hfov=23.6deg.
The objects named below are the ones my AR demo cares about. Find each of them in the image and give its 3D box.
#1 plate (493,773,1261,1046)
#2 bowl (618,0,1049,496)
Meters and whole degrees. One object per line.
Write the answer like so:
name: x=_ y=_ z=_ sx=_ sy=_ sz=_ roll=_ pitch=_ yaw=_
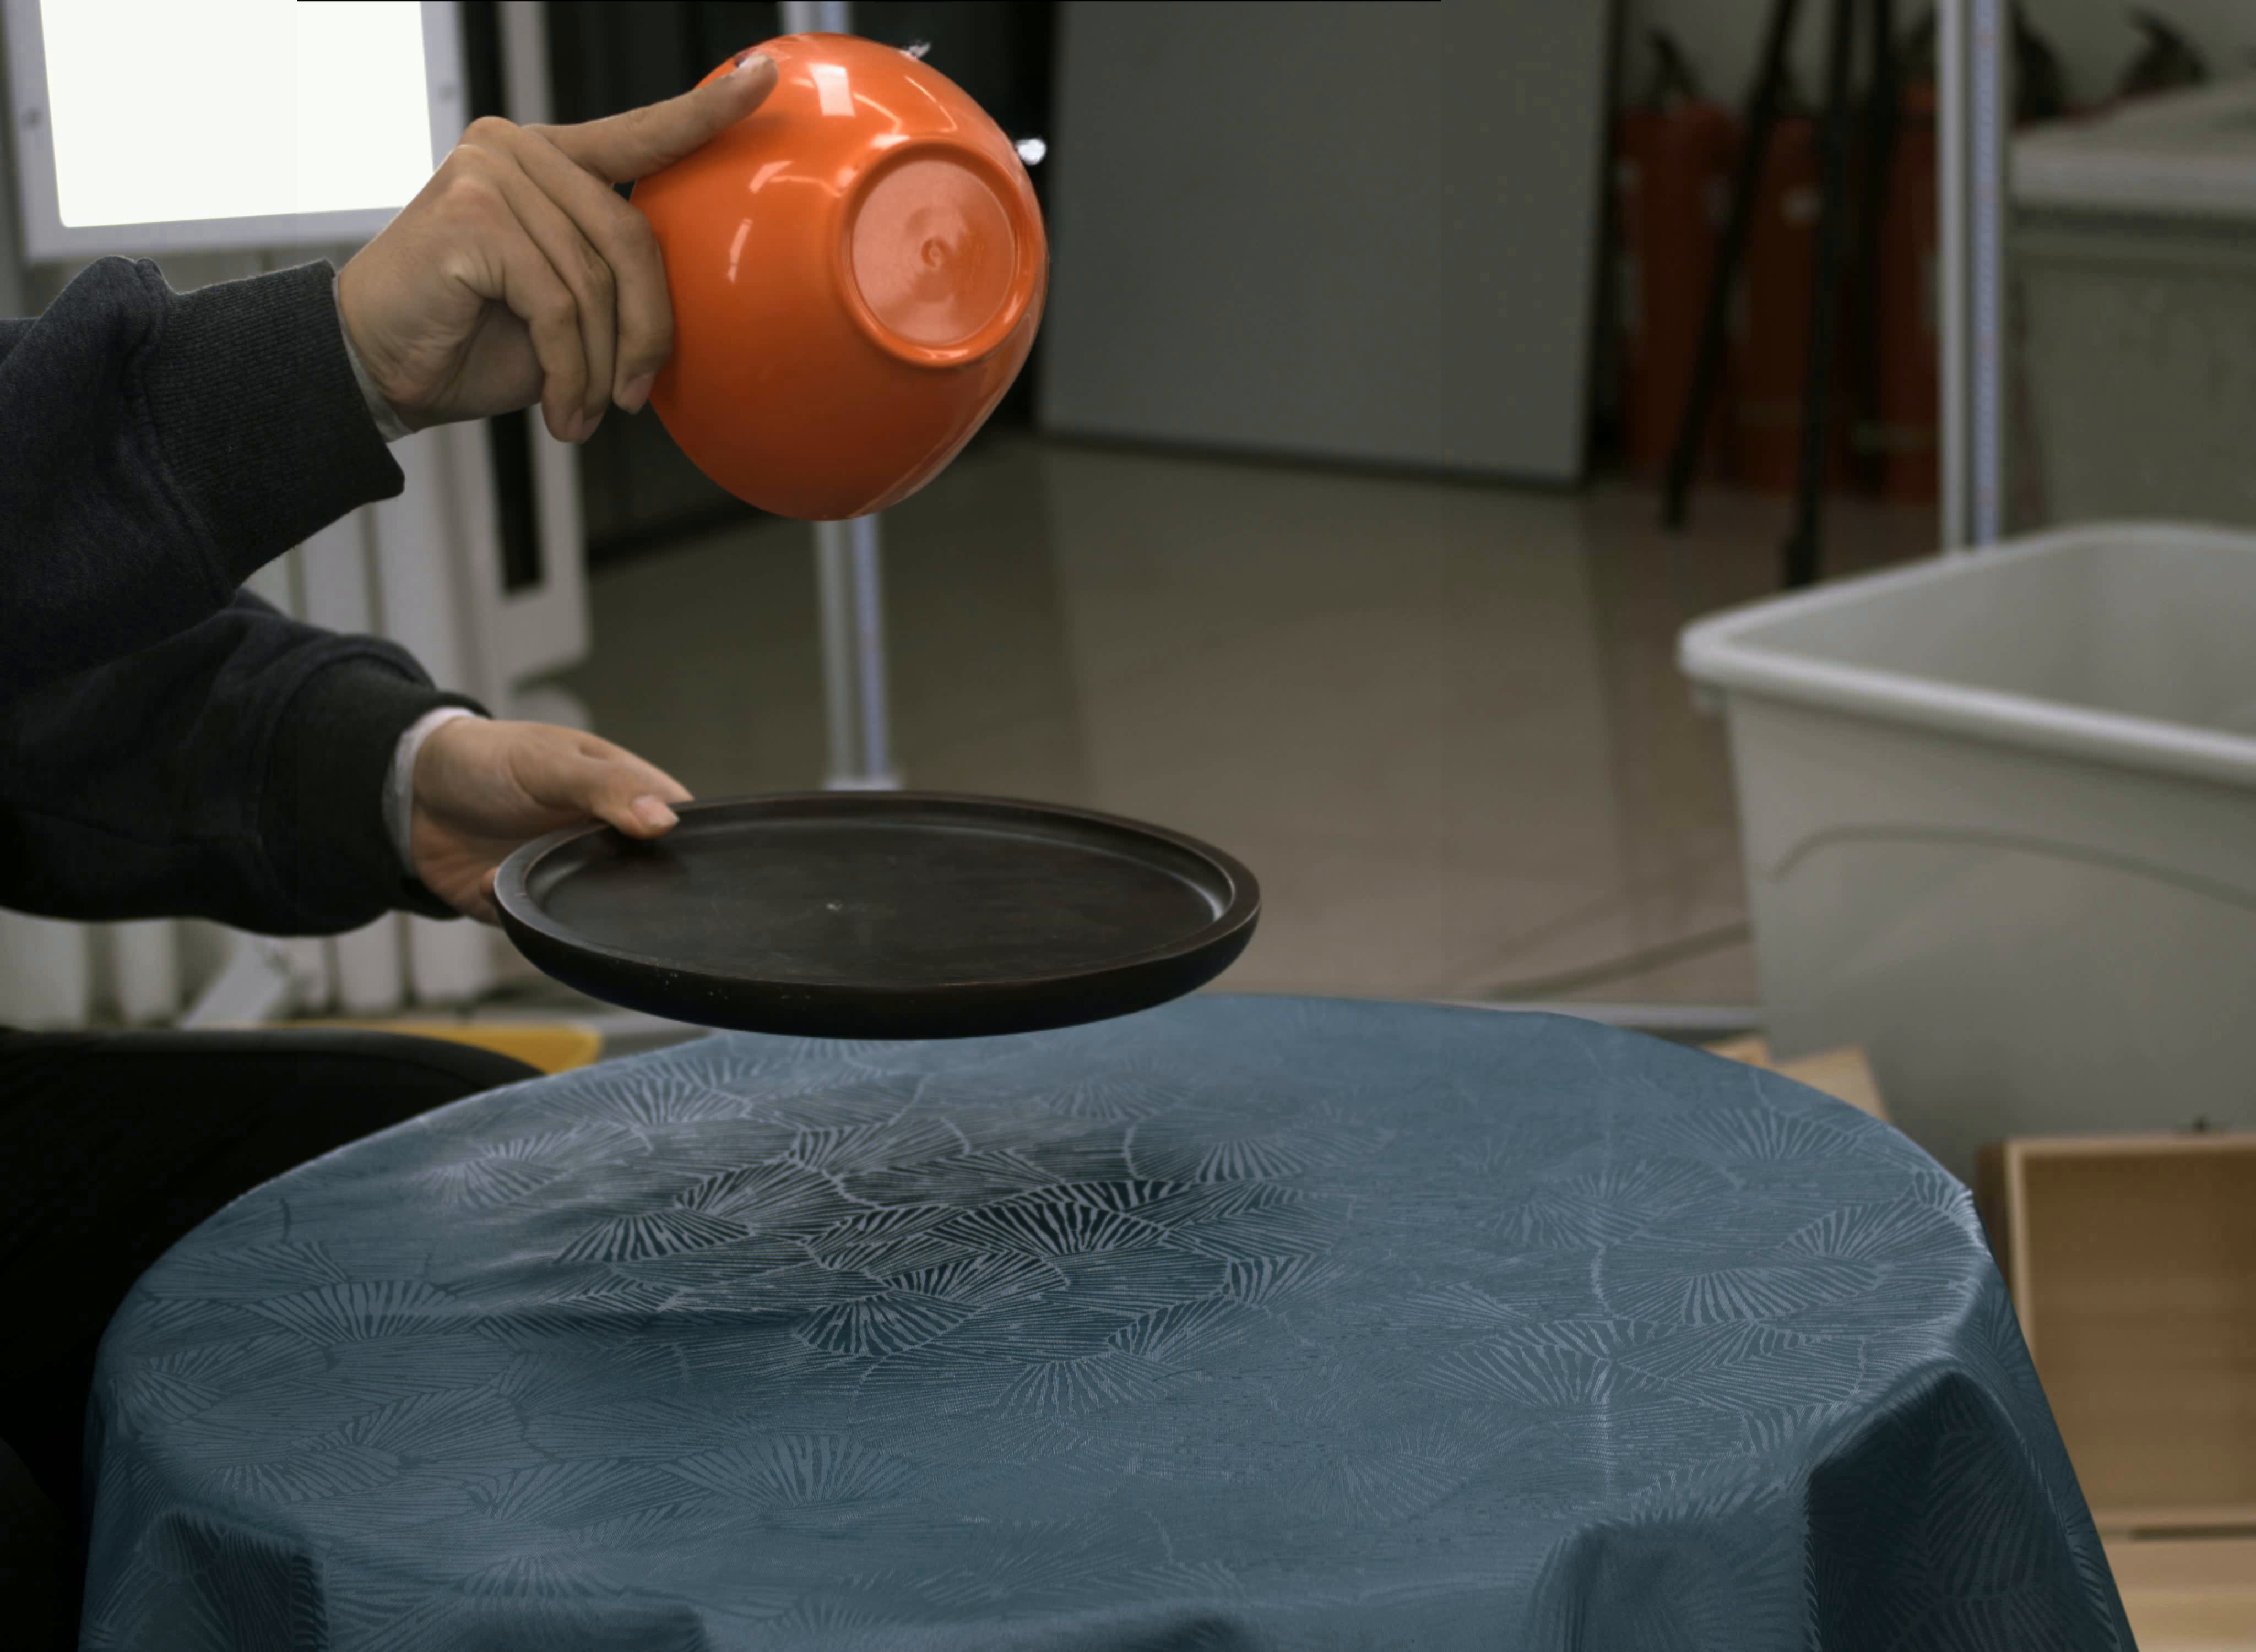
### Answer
plate: x=-0.081 y=0.028 z=1.758 sx=0.251 sy=0.029 sz=0.255 roll=0 pitch=15 yaw=-1
bowl: x=-0.070 y=-0.172 z=1.587 sx=0.145 sy=0.150 sz=0.105 roll=-10 pitch=7 yaw=-28
